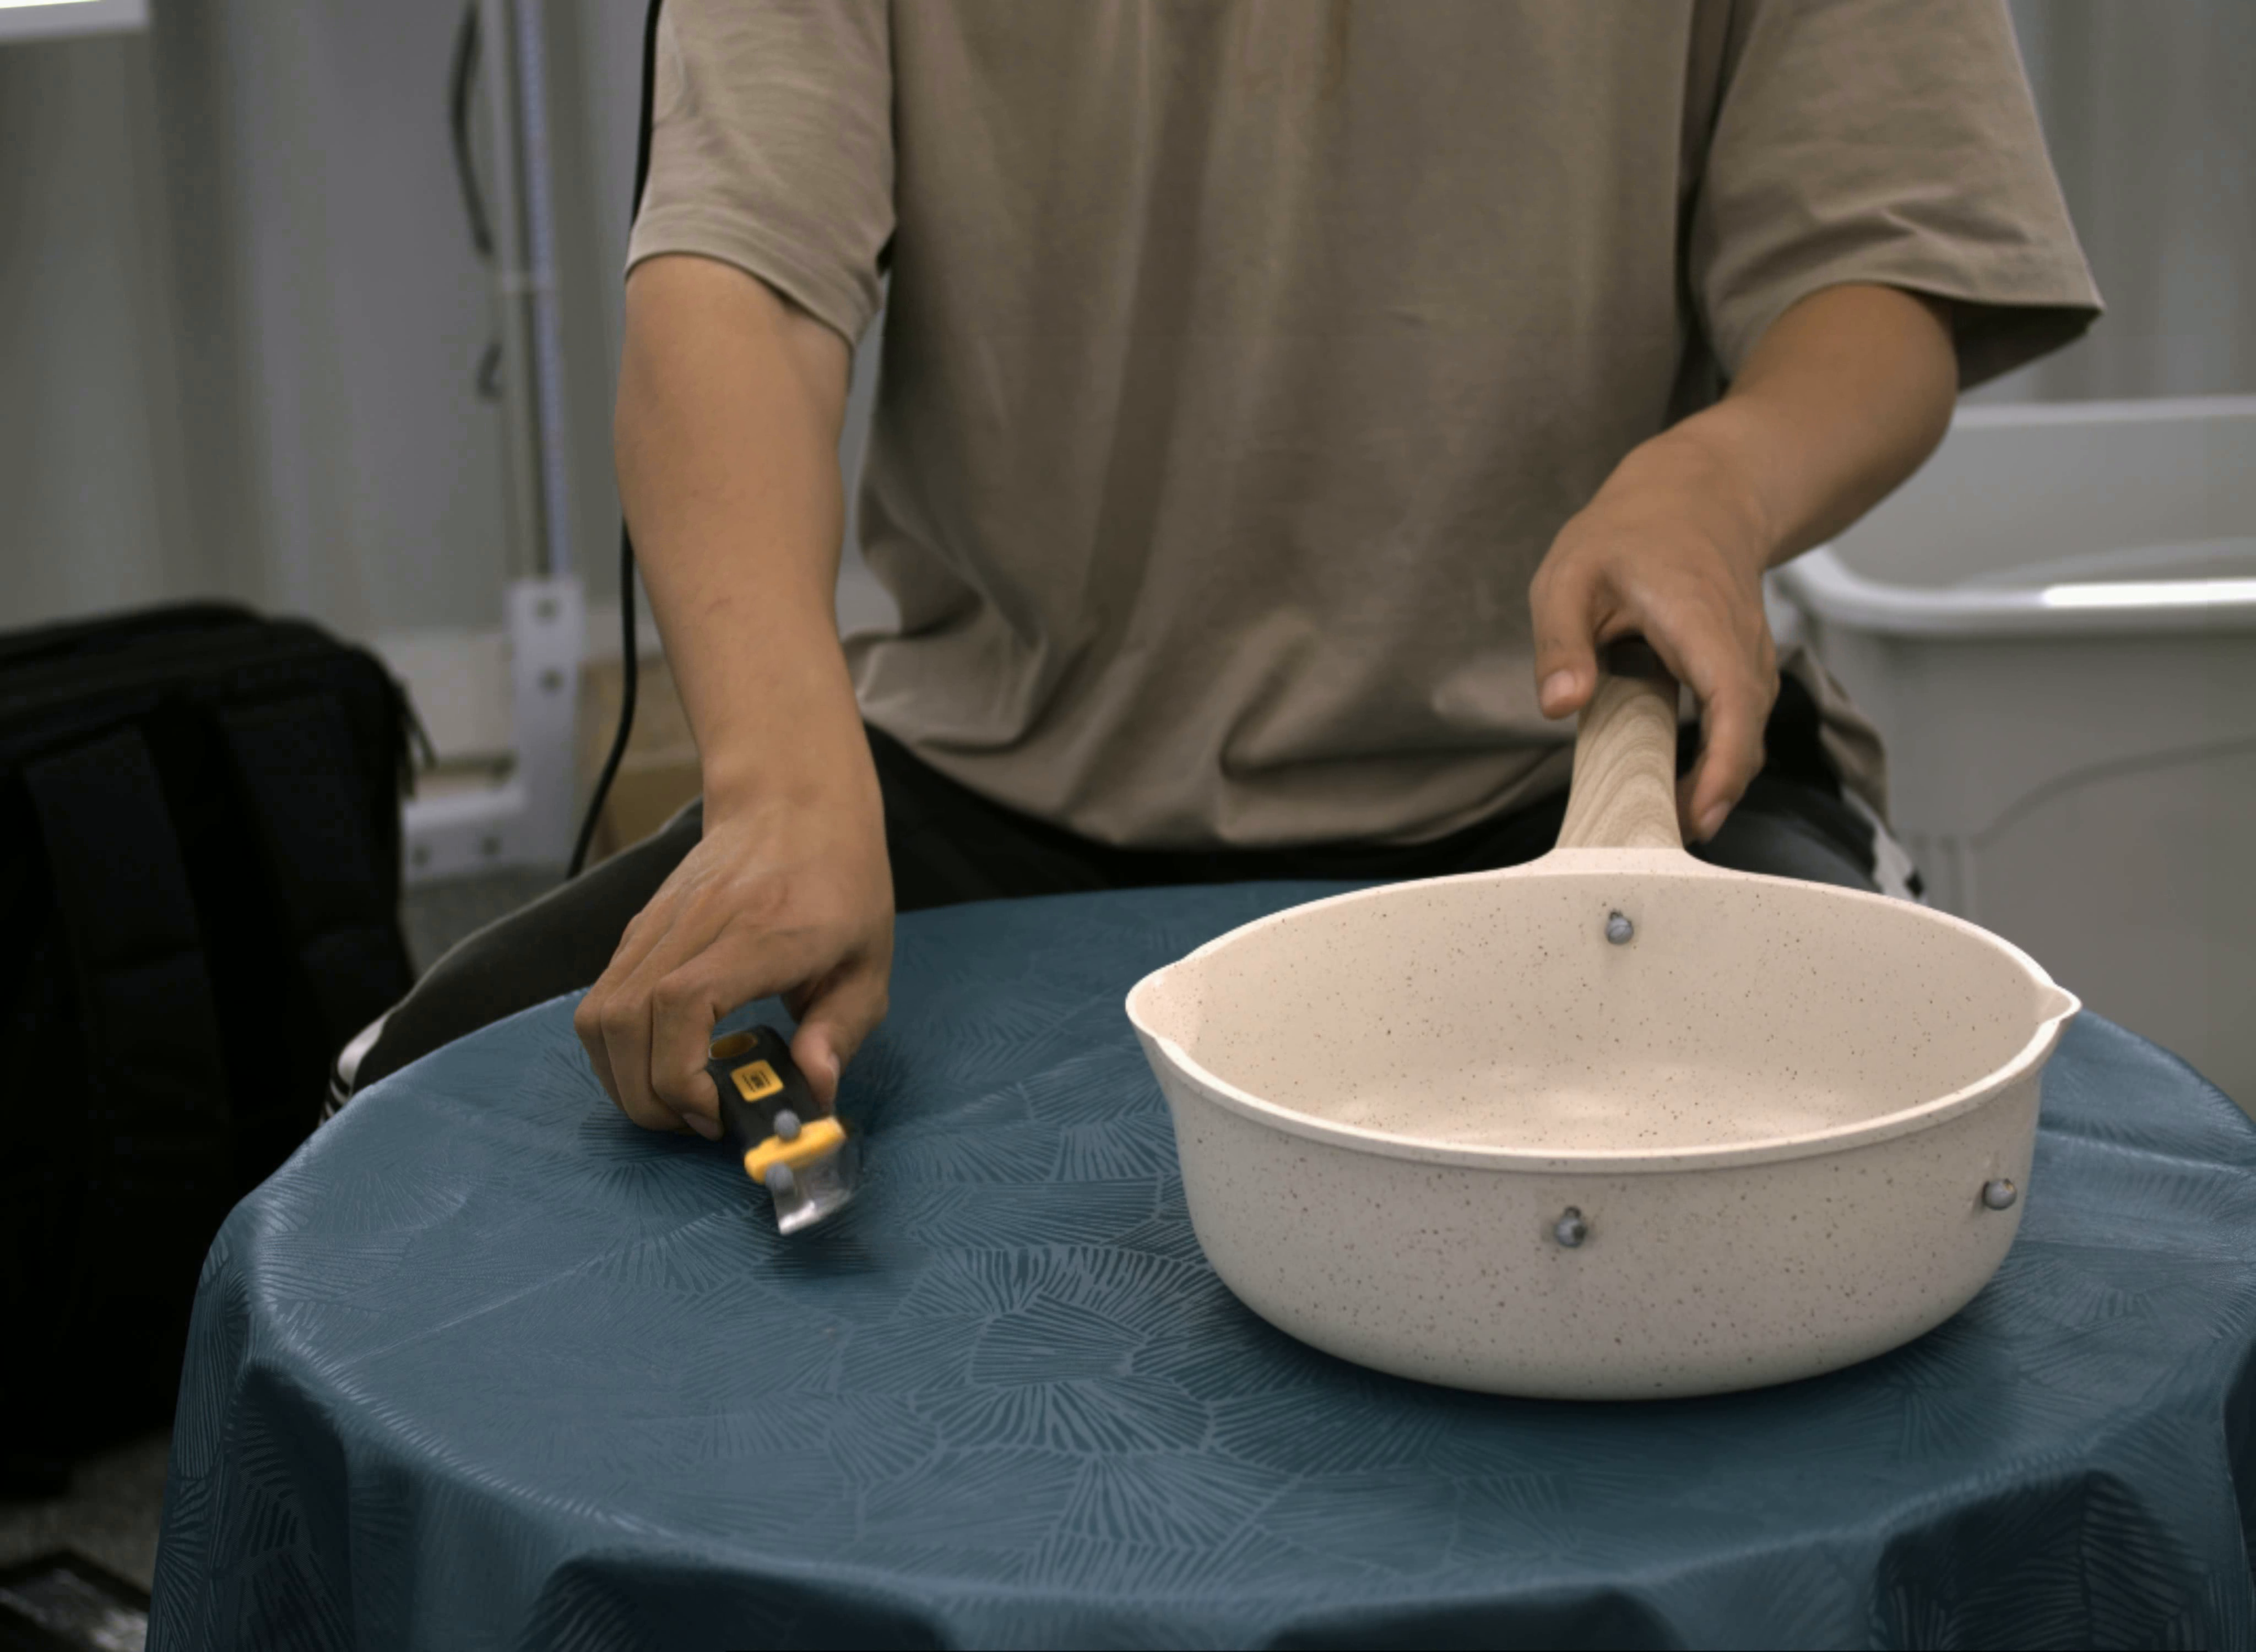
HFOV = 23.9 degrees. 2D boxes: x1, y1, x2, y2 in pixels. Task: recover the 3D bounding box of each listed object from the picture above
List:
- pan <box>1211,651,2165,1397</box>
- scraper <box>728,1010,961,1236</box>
[{"bbox_3d":[0.166,0.053,1.547,0.264,0.102,0.434,-3,16,8],"label":"pan"},{"bbox_3d":[-0.087,0.087,1.575,0.038,0.015,0.173,-27,21,-9],"label":"scraper"}]
